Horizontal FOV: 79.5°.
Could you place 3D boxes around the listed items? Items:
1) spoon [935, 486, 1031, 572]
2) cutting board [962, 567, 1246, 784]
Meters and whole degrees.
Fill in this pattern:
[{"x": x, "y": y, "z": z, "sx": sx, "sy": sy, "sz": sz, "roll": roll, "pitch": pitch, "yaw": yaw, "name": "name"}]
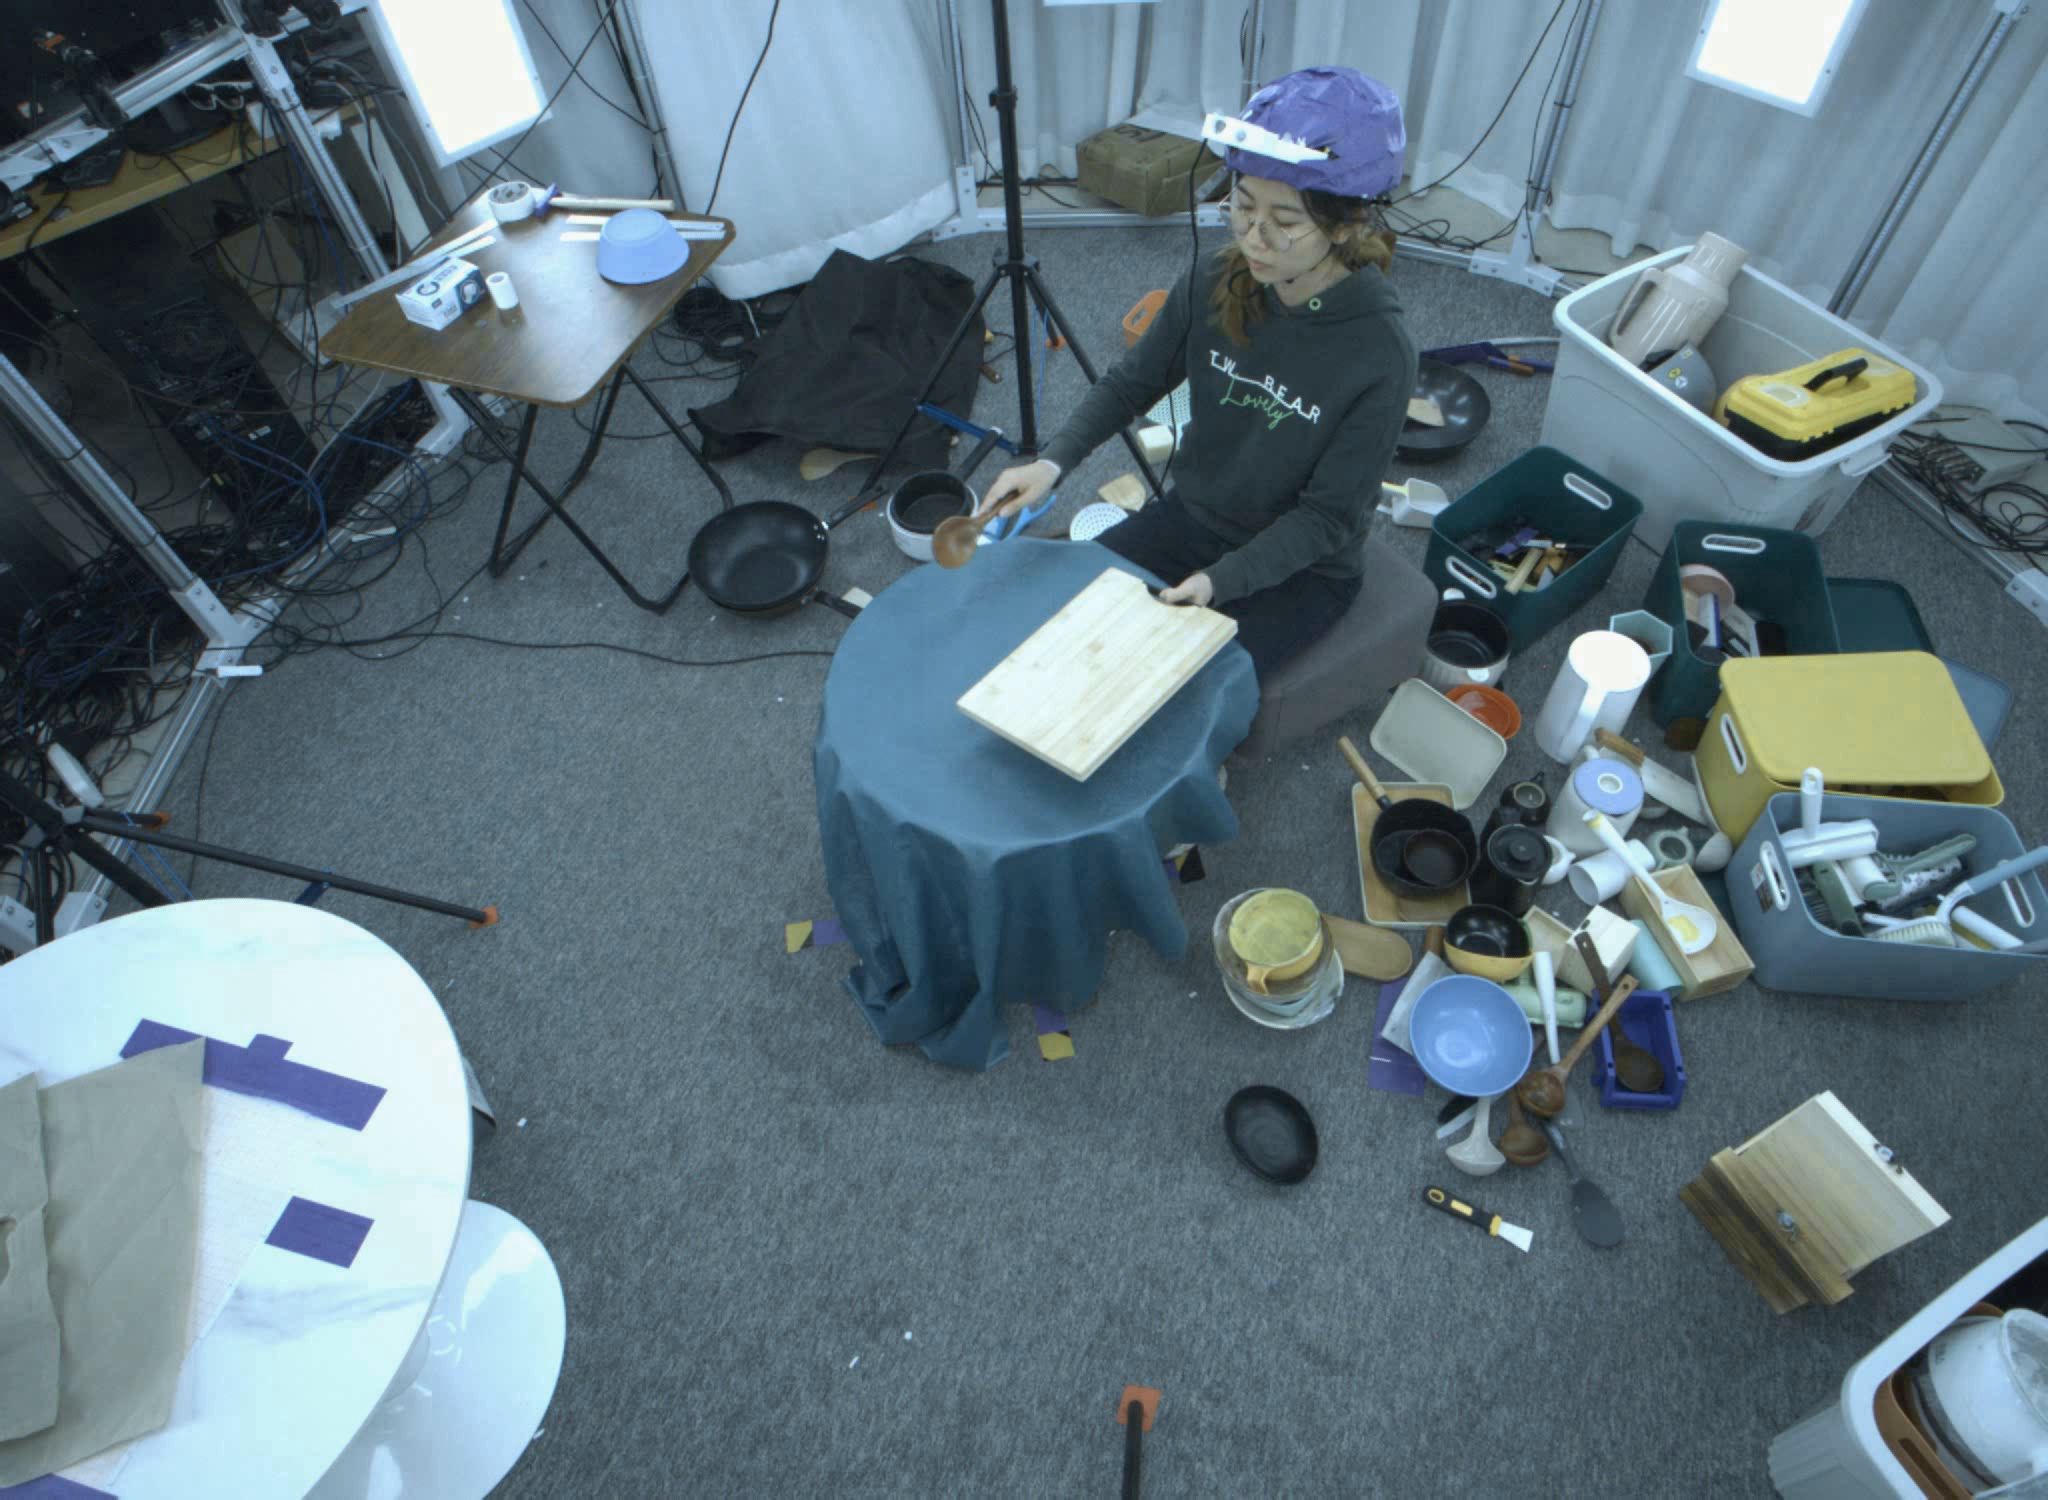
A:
[{"x": -0.063, "y": -0.348, "z": 1.886, "sx": 0.017, "sy": 0.076, "sz": 0.217, "roll": 8, "pitch": 43, "yaw": 49, "name": "spoon"}, {"x": 0.112, "y": -0.117, "z": 1.749, "sx": 0.245, "sy": 0.024, "sz": 0.350, "roll": 30, "pitch": 61, "yaw": 32, "name": "cutting board"}]
